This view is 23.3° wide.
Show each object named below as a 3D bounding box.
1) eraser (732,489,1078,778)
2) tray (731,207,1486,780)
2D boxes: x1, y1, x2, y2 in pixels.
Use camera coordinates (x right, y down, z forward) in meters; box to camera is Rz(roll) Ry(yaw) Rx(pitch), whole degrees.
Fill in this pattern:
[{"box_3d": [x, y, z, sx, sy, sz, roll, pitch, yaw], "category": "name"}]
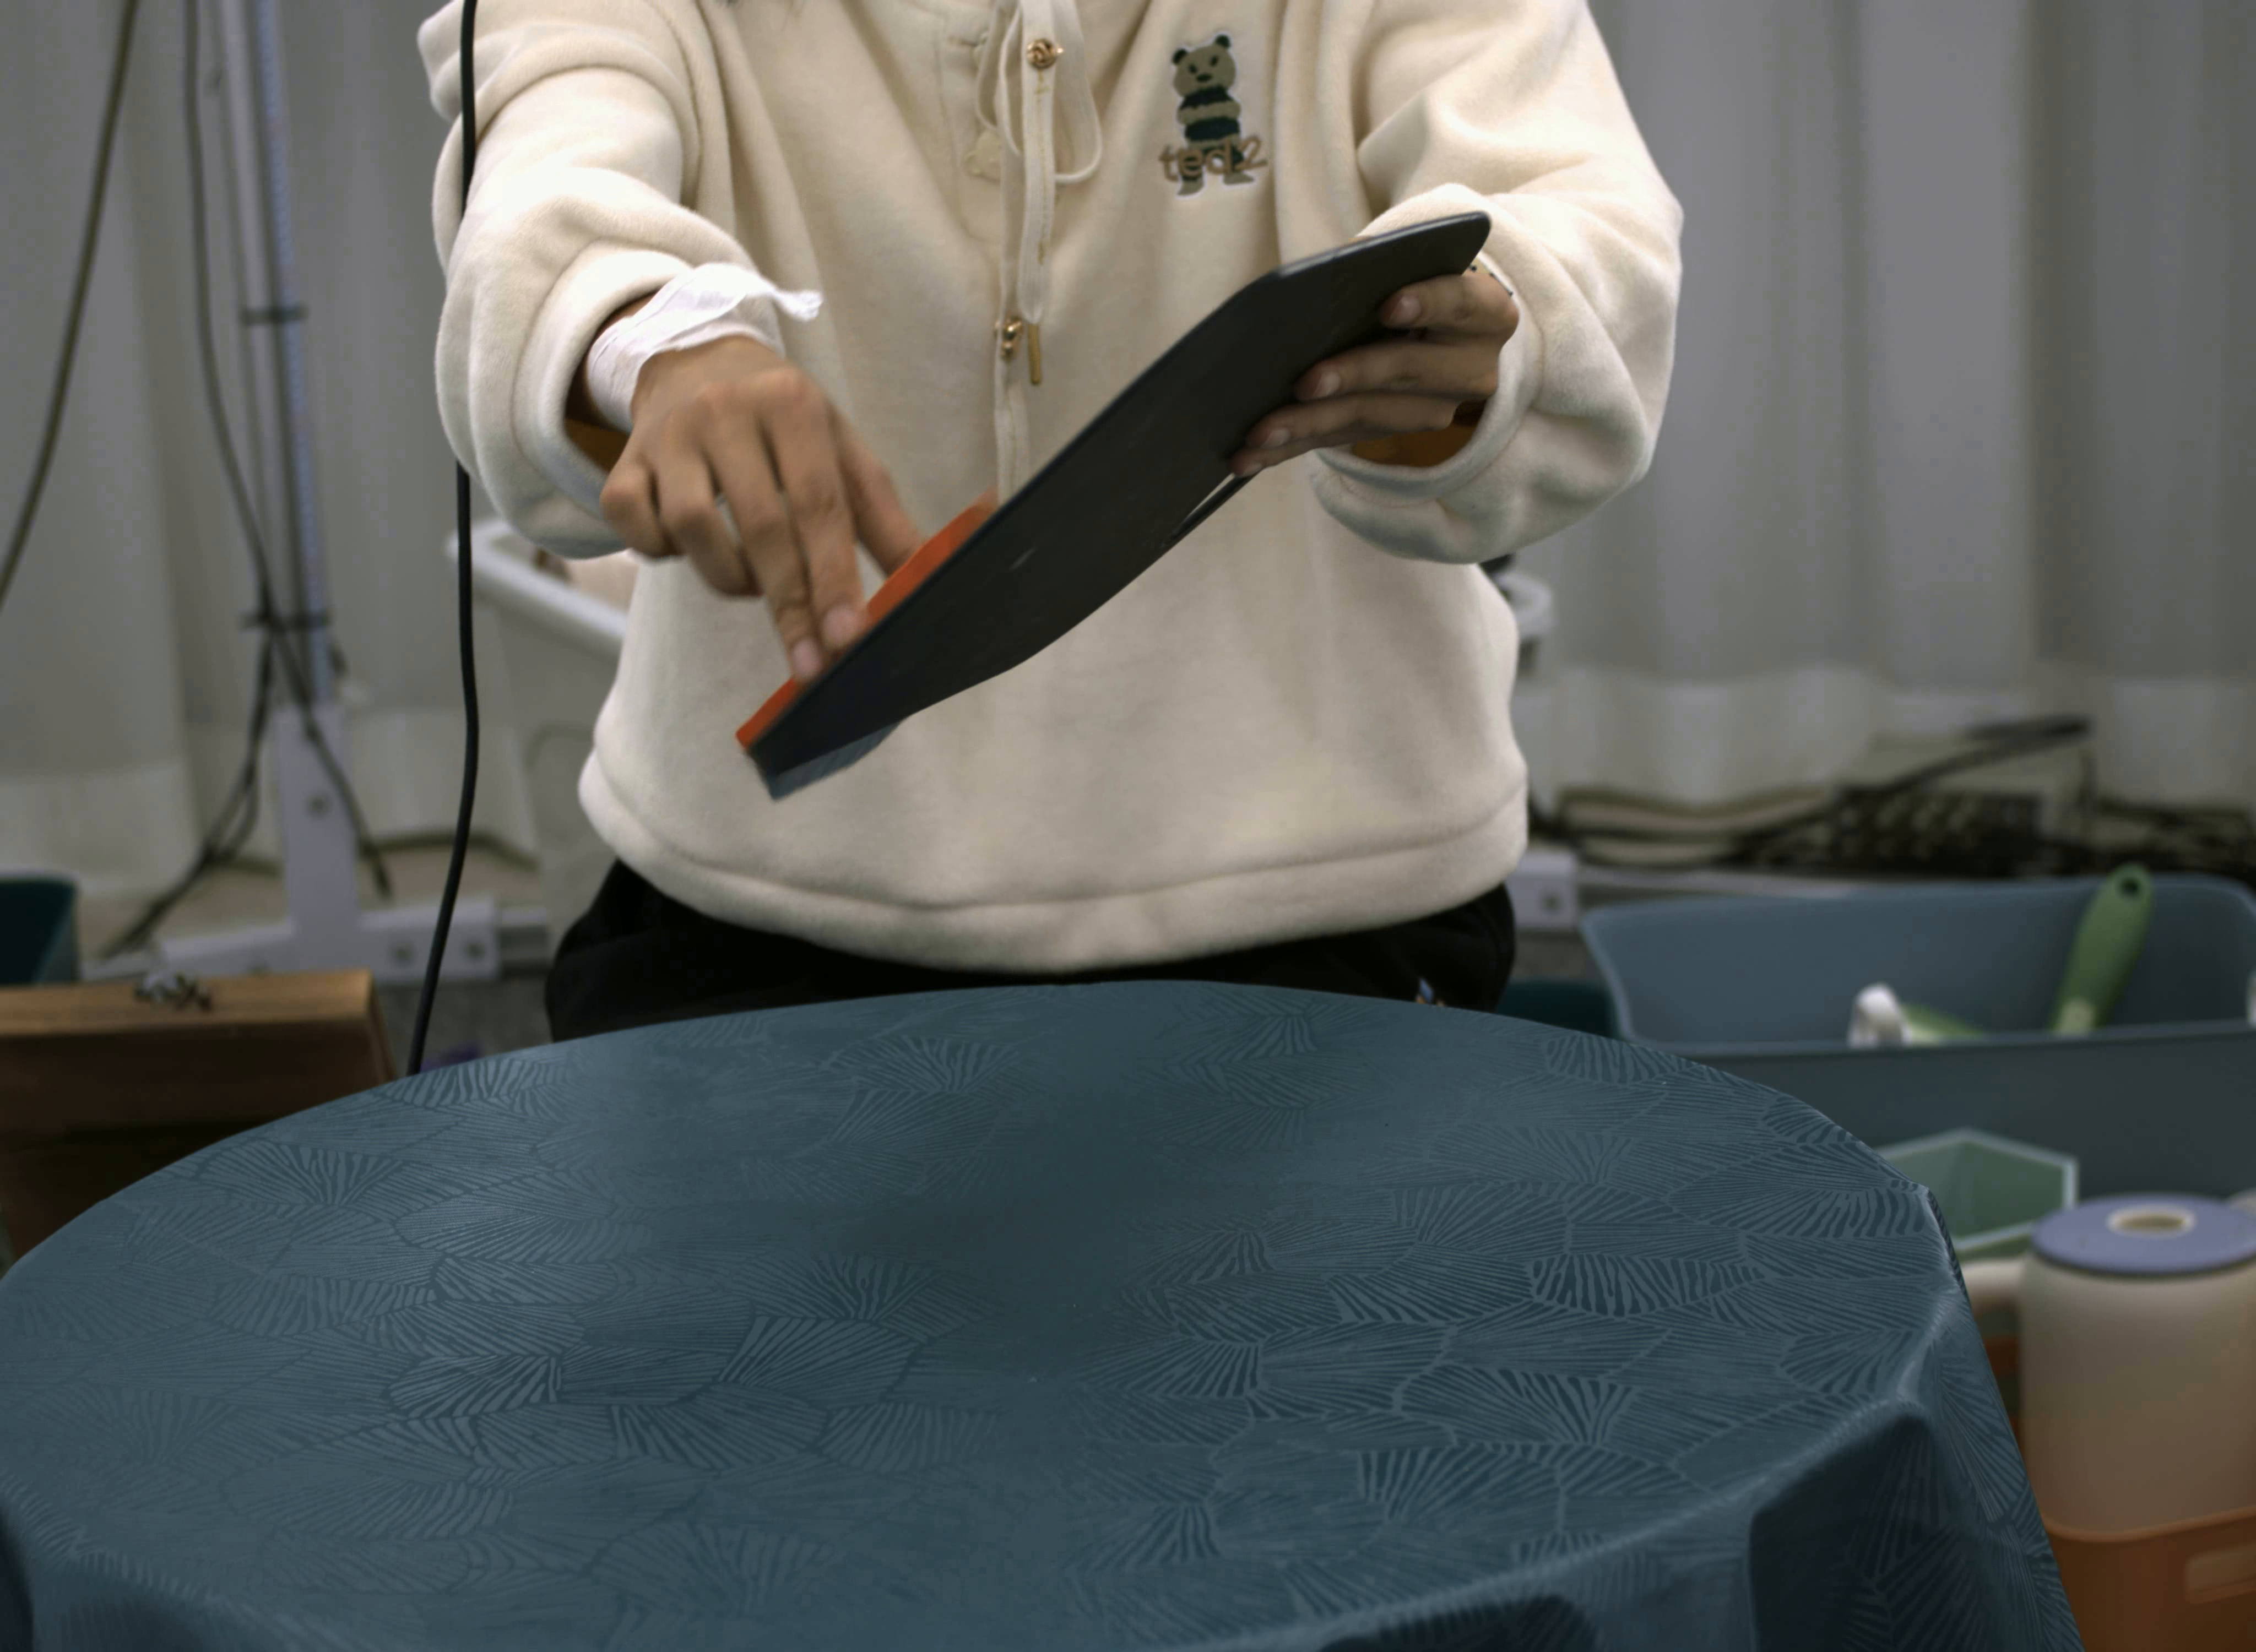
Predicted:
[{"box_3d": [-0.065, -0.056, 1.598, 0.107, 0.023, 0.059, -42, -11, 31], "category": "eraser"}, {"box_3d": [0.002, -0.100, 1.573, 0.210, 0.010, 0.326, -43, -4, 20], "category": "tray"}]
